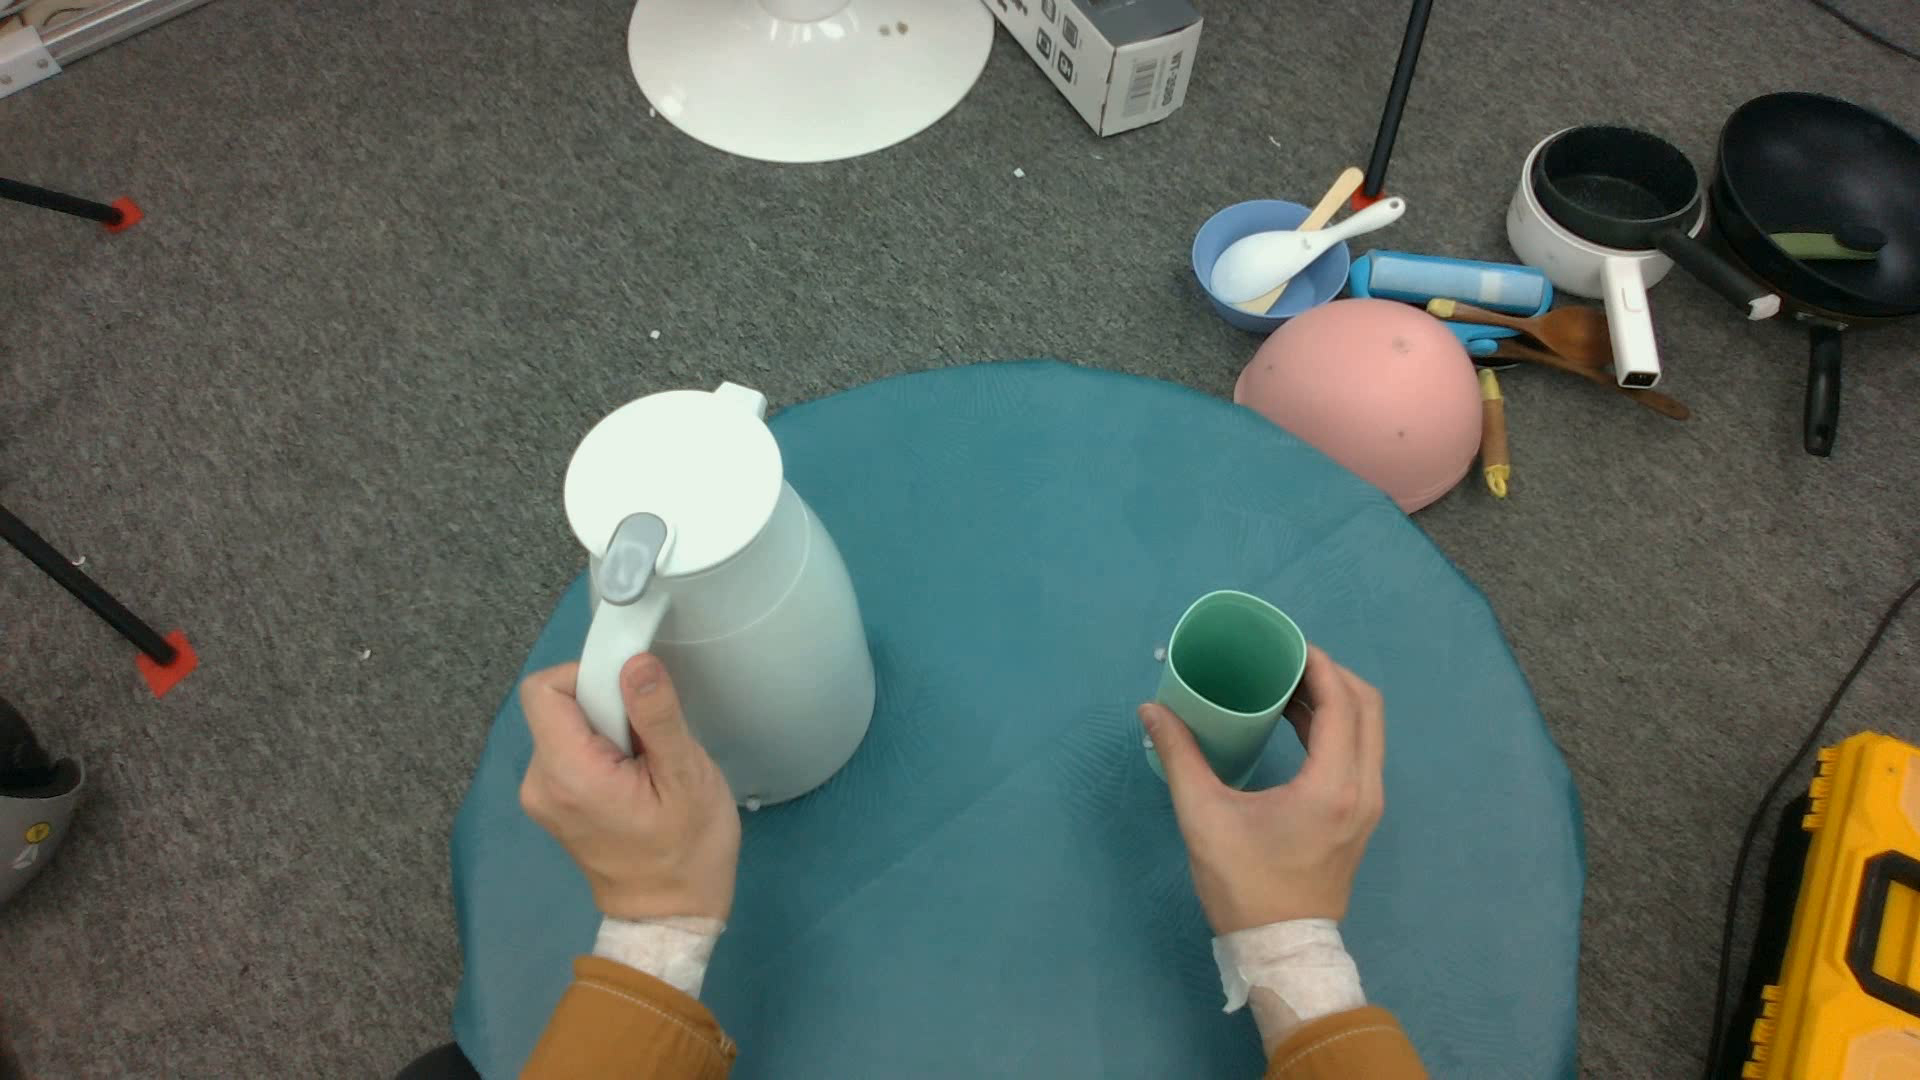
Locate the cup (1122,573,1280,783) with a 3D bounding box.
[{"bbox_3d":[0.124,0.076,0.719,0.067,0.132,0.067,0,62,1],"label":"cup"}]

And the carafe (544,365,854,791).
[{"bbox_3d":[-0.133,0.039,0.671,0.132,0.247,0.168,17,64,10],"label":"carafe"}]
